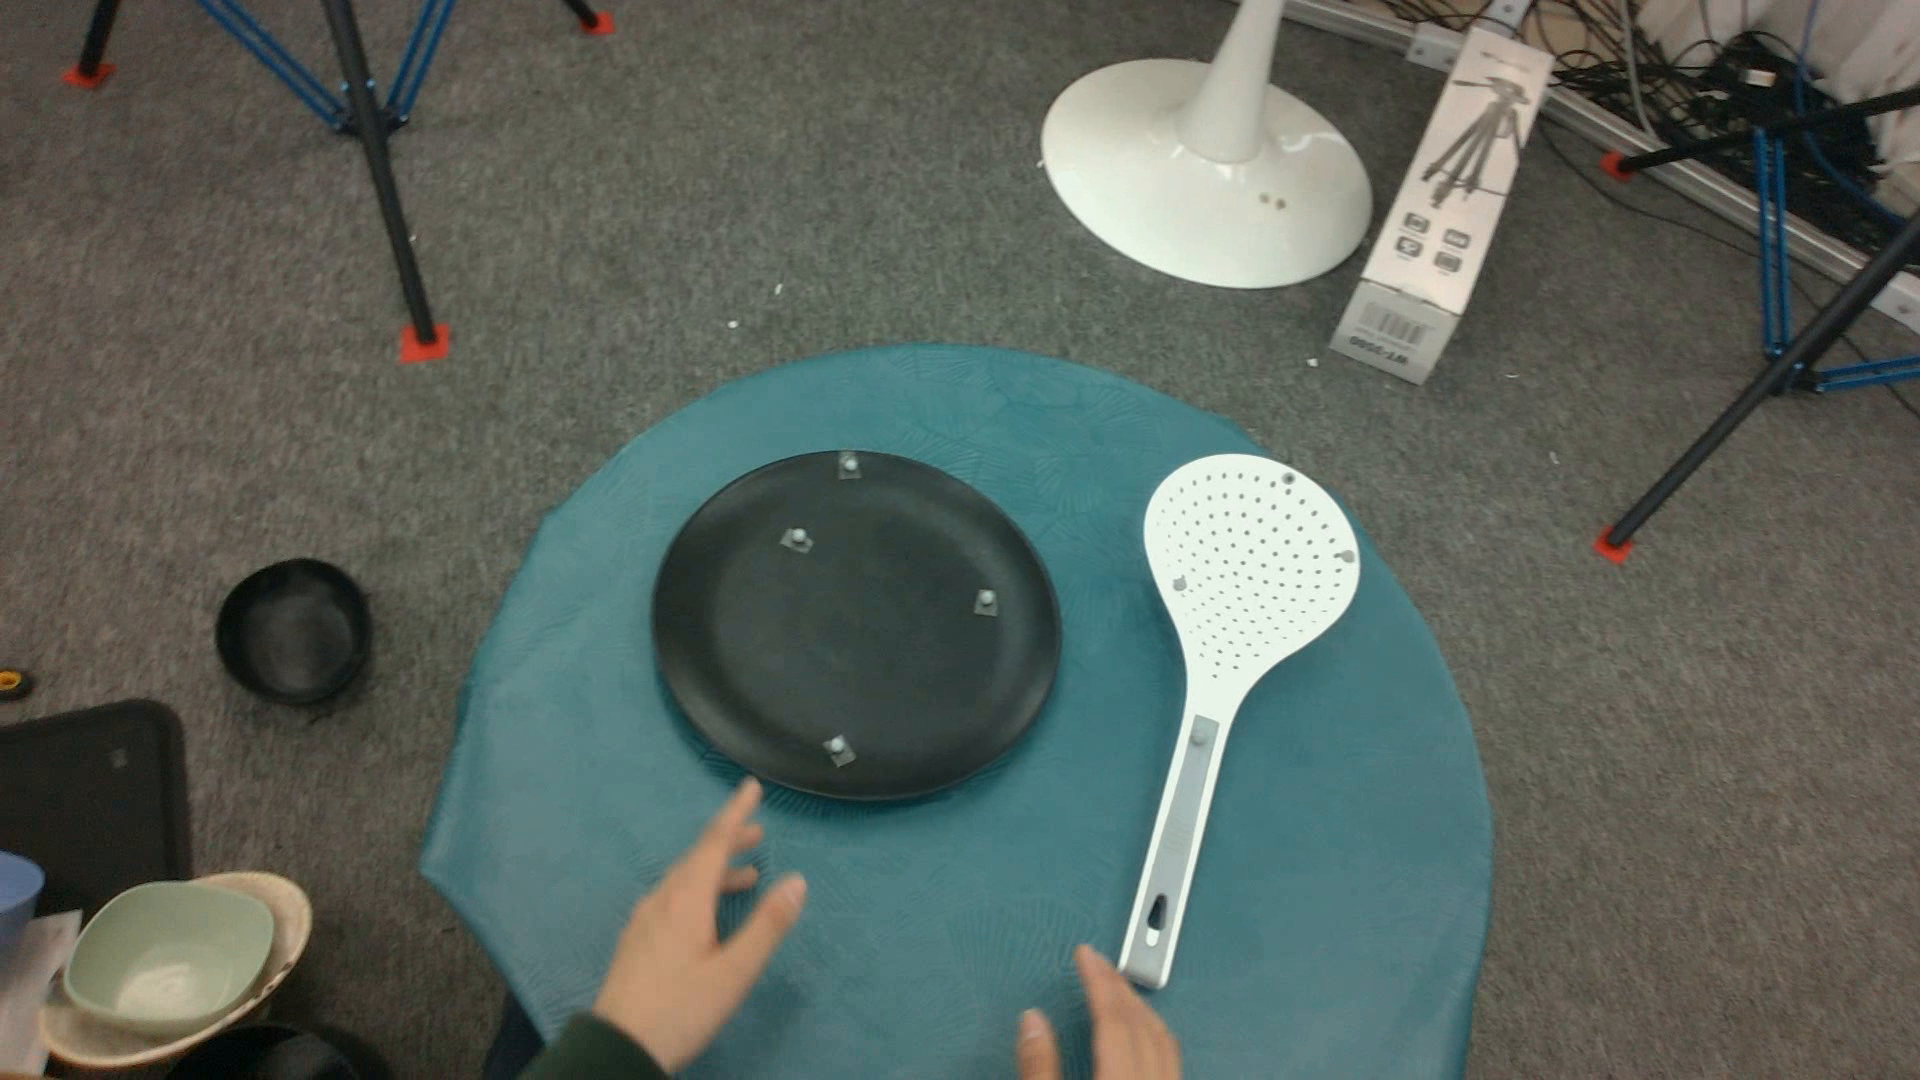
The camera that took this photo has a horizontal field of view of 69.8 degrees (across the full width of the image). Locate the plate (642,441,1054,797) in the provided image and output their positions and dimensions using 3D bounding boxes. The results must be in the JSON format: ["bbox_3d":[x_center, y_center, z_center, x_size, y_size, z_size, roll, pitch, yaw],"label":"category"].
[{"bbox_3d":[-0.065,0.043,0.820,0.244,0.023,0.245,5,55,-8],"label":"plate"}]

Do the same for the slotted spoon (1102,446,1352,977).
[{"bbox_3d":[0.144,0.088,0.816,0.136,0.045,0.351,19,55,5],"label":"slotted spoon"}]
